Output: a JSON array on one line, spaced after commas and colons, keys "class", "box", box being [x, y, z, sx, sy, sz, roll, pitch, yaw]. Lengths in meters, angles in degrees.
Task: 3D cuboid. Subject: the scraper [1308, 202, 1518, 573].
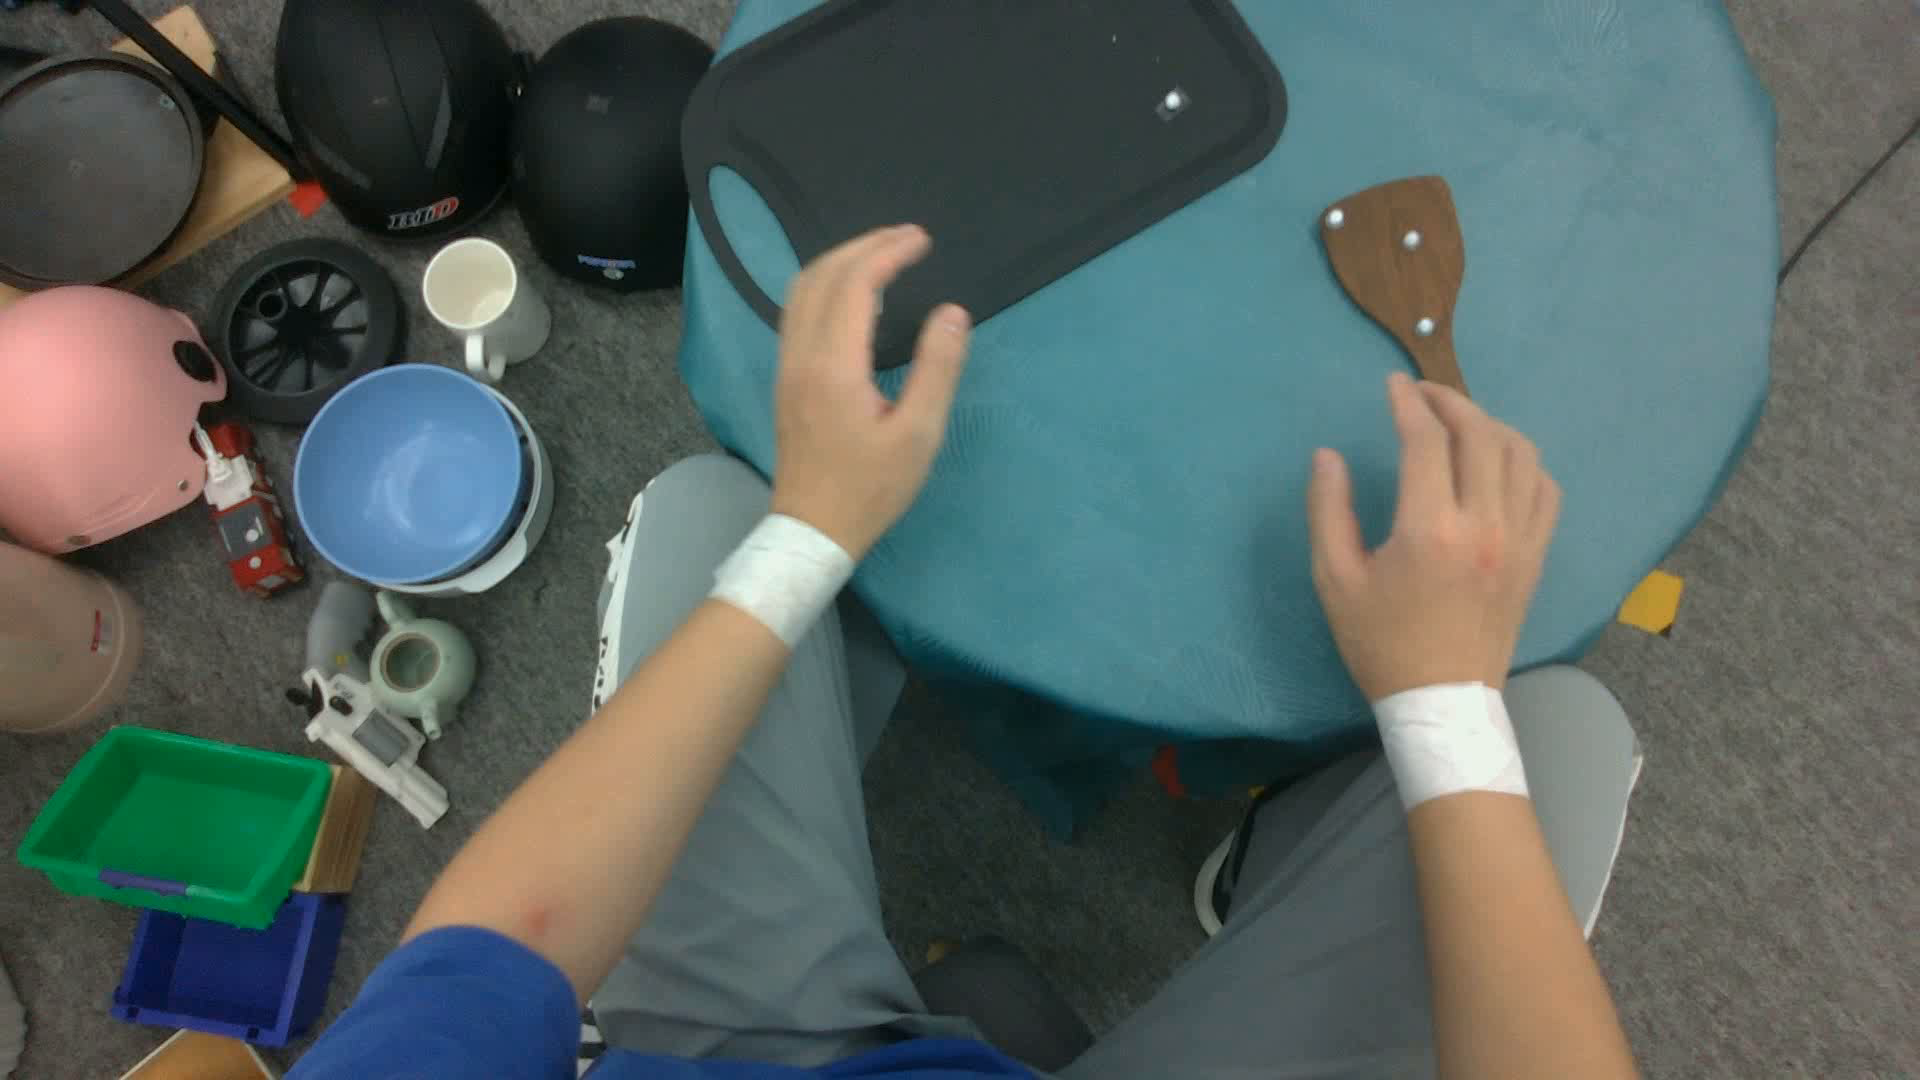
[{"class": "scraper", "box": [0.255, -0.083, 0.749, 0.076, 0.011, 0.211, -16, 77, -1]}]

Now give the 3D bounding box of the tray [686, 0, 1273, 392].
[{"class": "tray", "box": [0.005, -0.223, 0.791, 0.326, 0.010, 0.211, -30, 77, -6]}]
